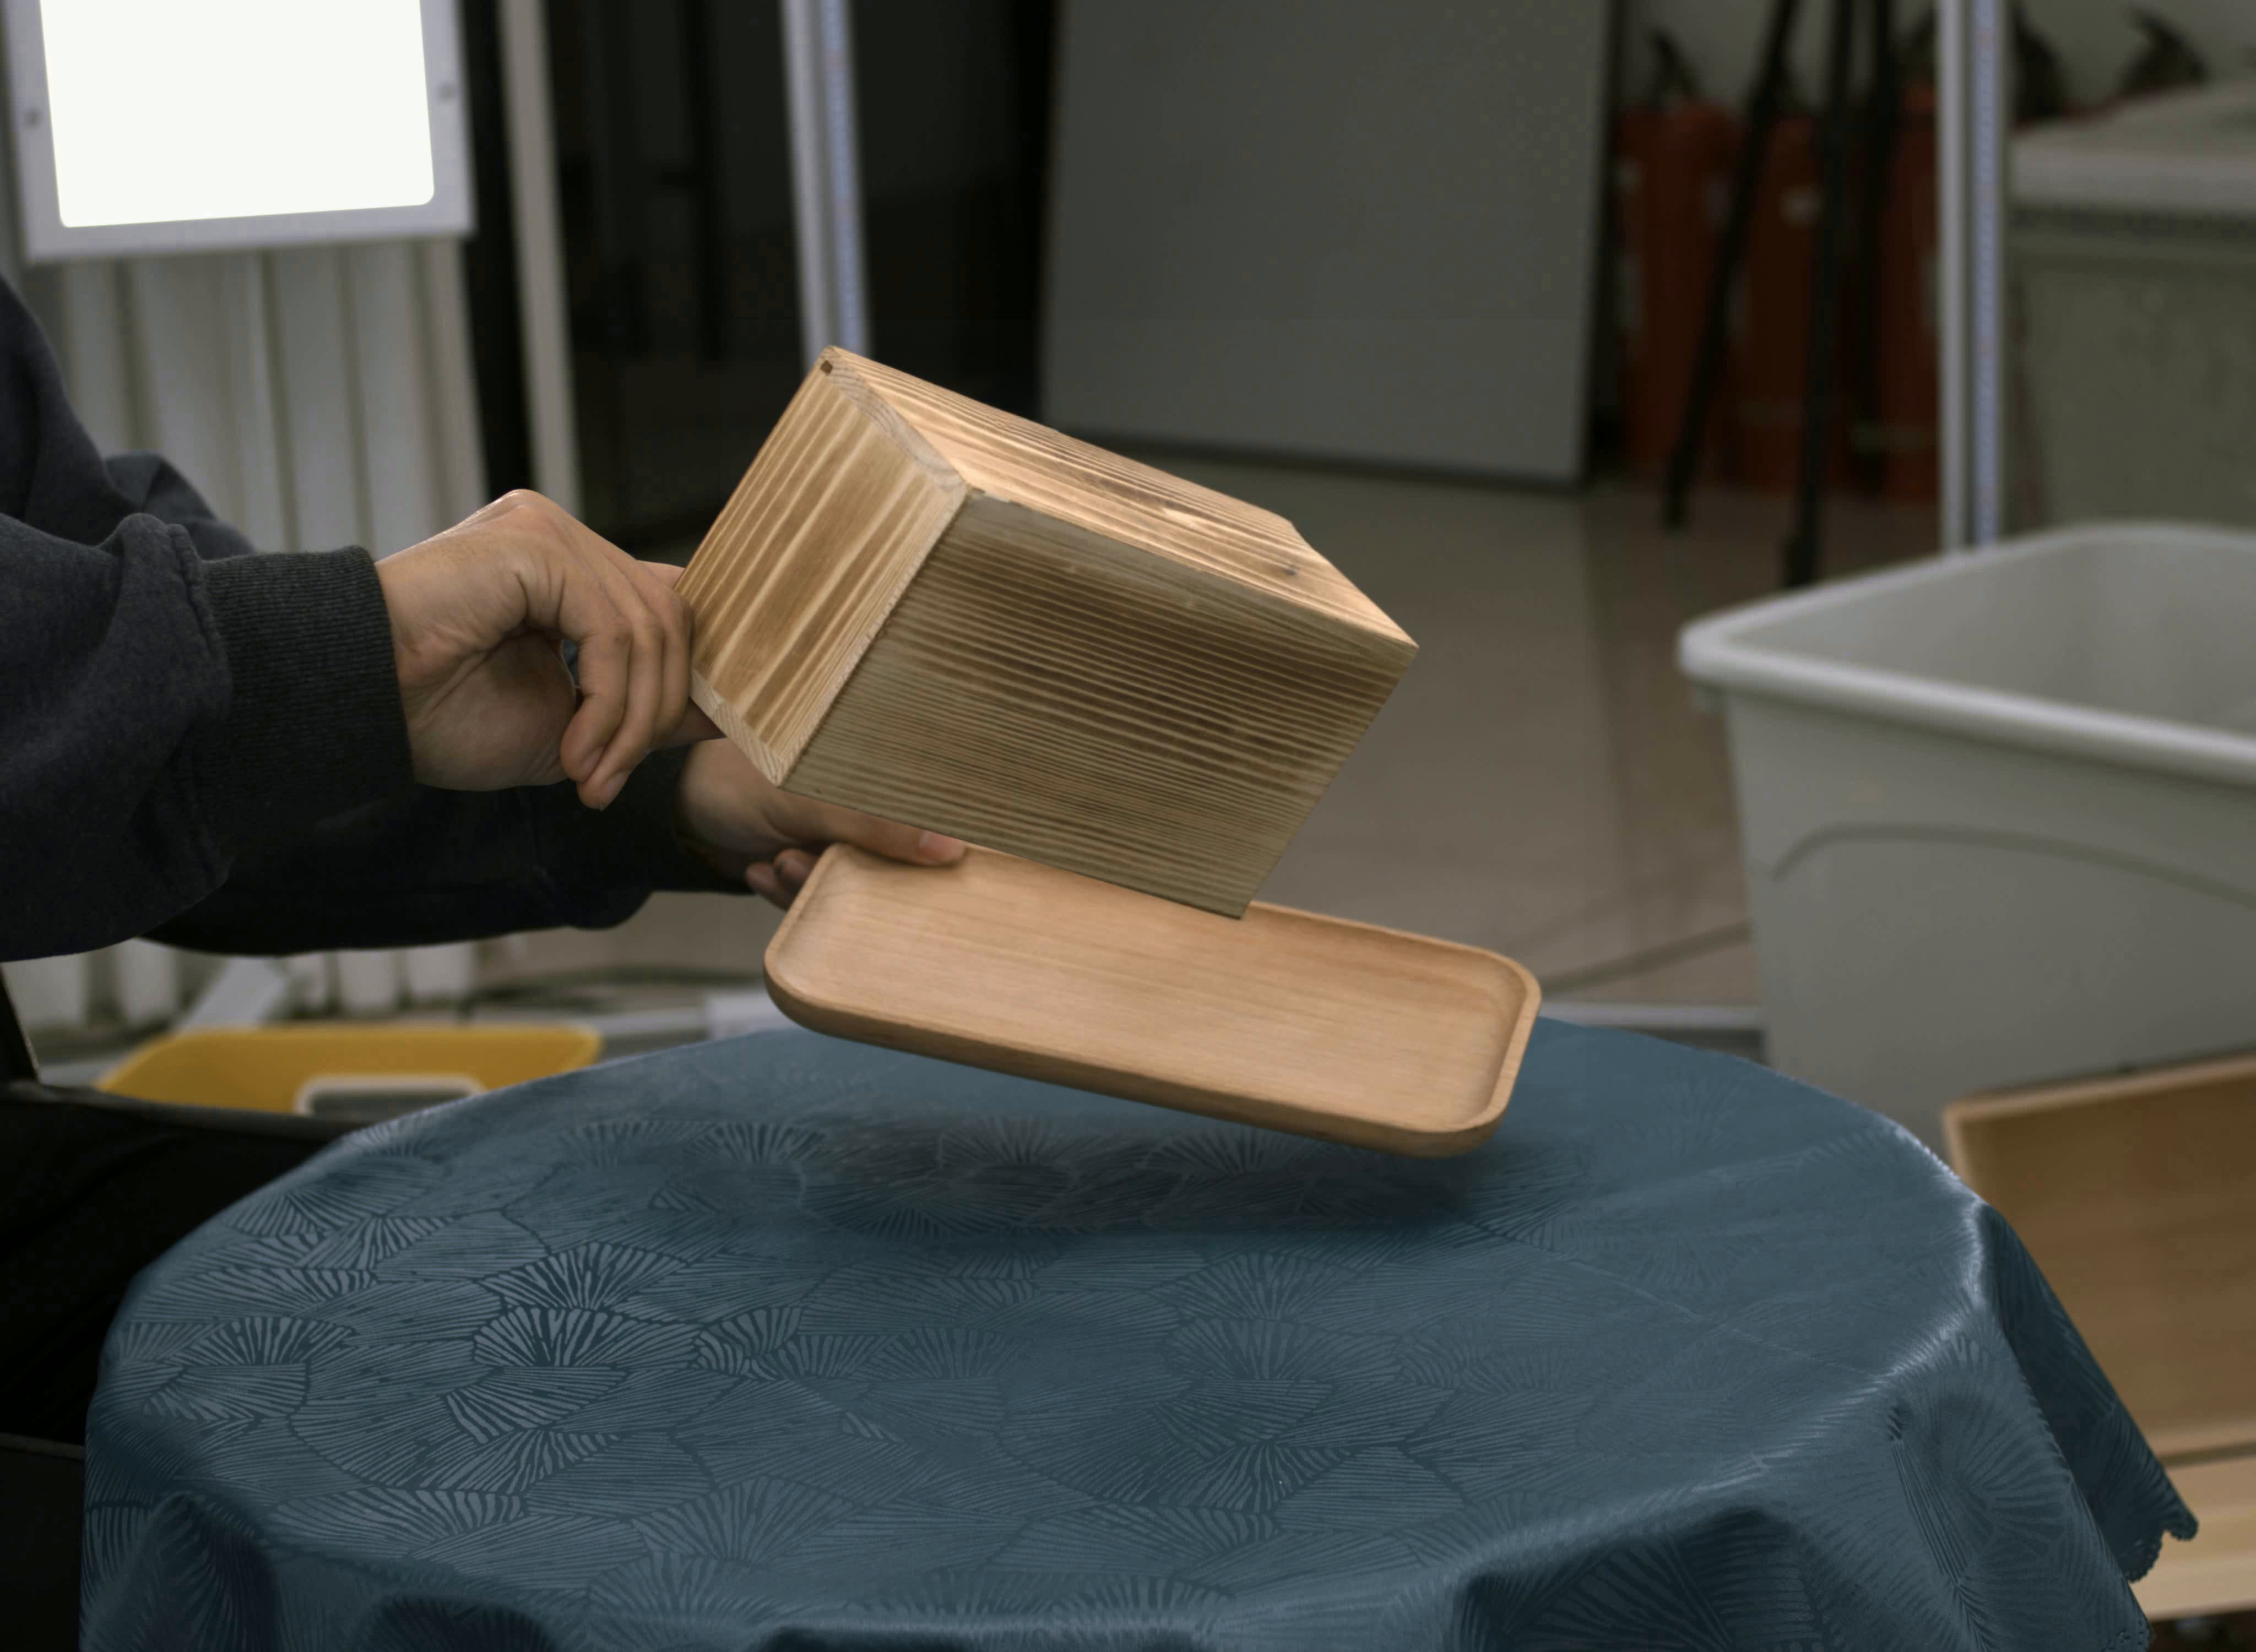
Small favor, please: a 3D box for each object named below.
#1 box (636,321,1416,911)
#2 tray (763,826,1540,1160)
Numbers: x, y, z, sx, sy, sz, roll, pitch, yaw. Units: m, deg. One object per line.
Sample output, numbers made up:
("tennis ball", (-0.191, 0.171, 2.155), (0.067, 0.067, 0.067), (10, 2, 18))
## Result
("box", (-0.027, -0.058, 1.595), (0.207, 0.108, 0.081), (17, 21, -47))
("tray", (0.009, 0.054, 1.777), (0.249, 0.023, 0.130), (11, 26, 11))
